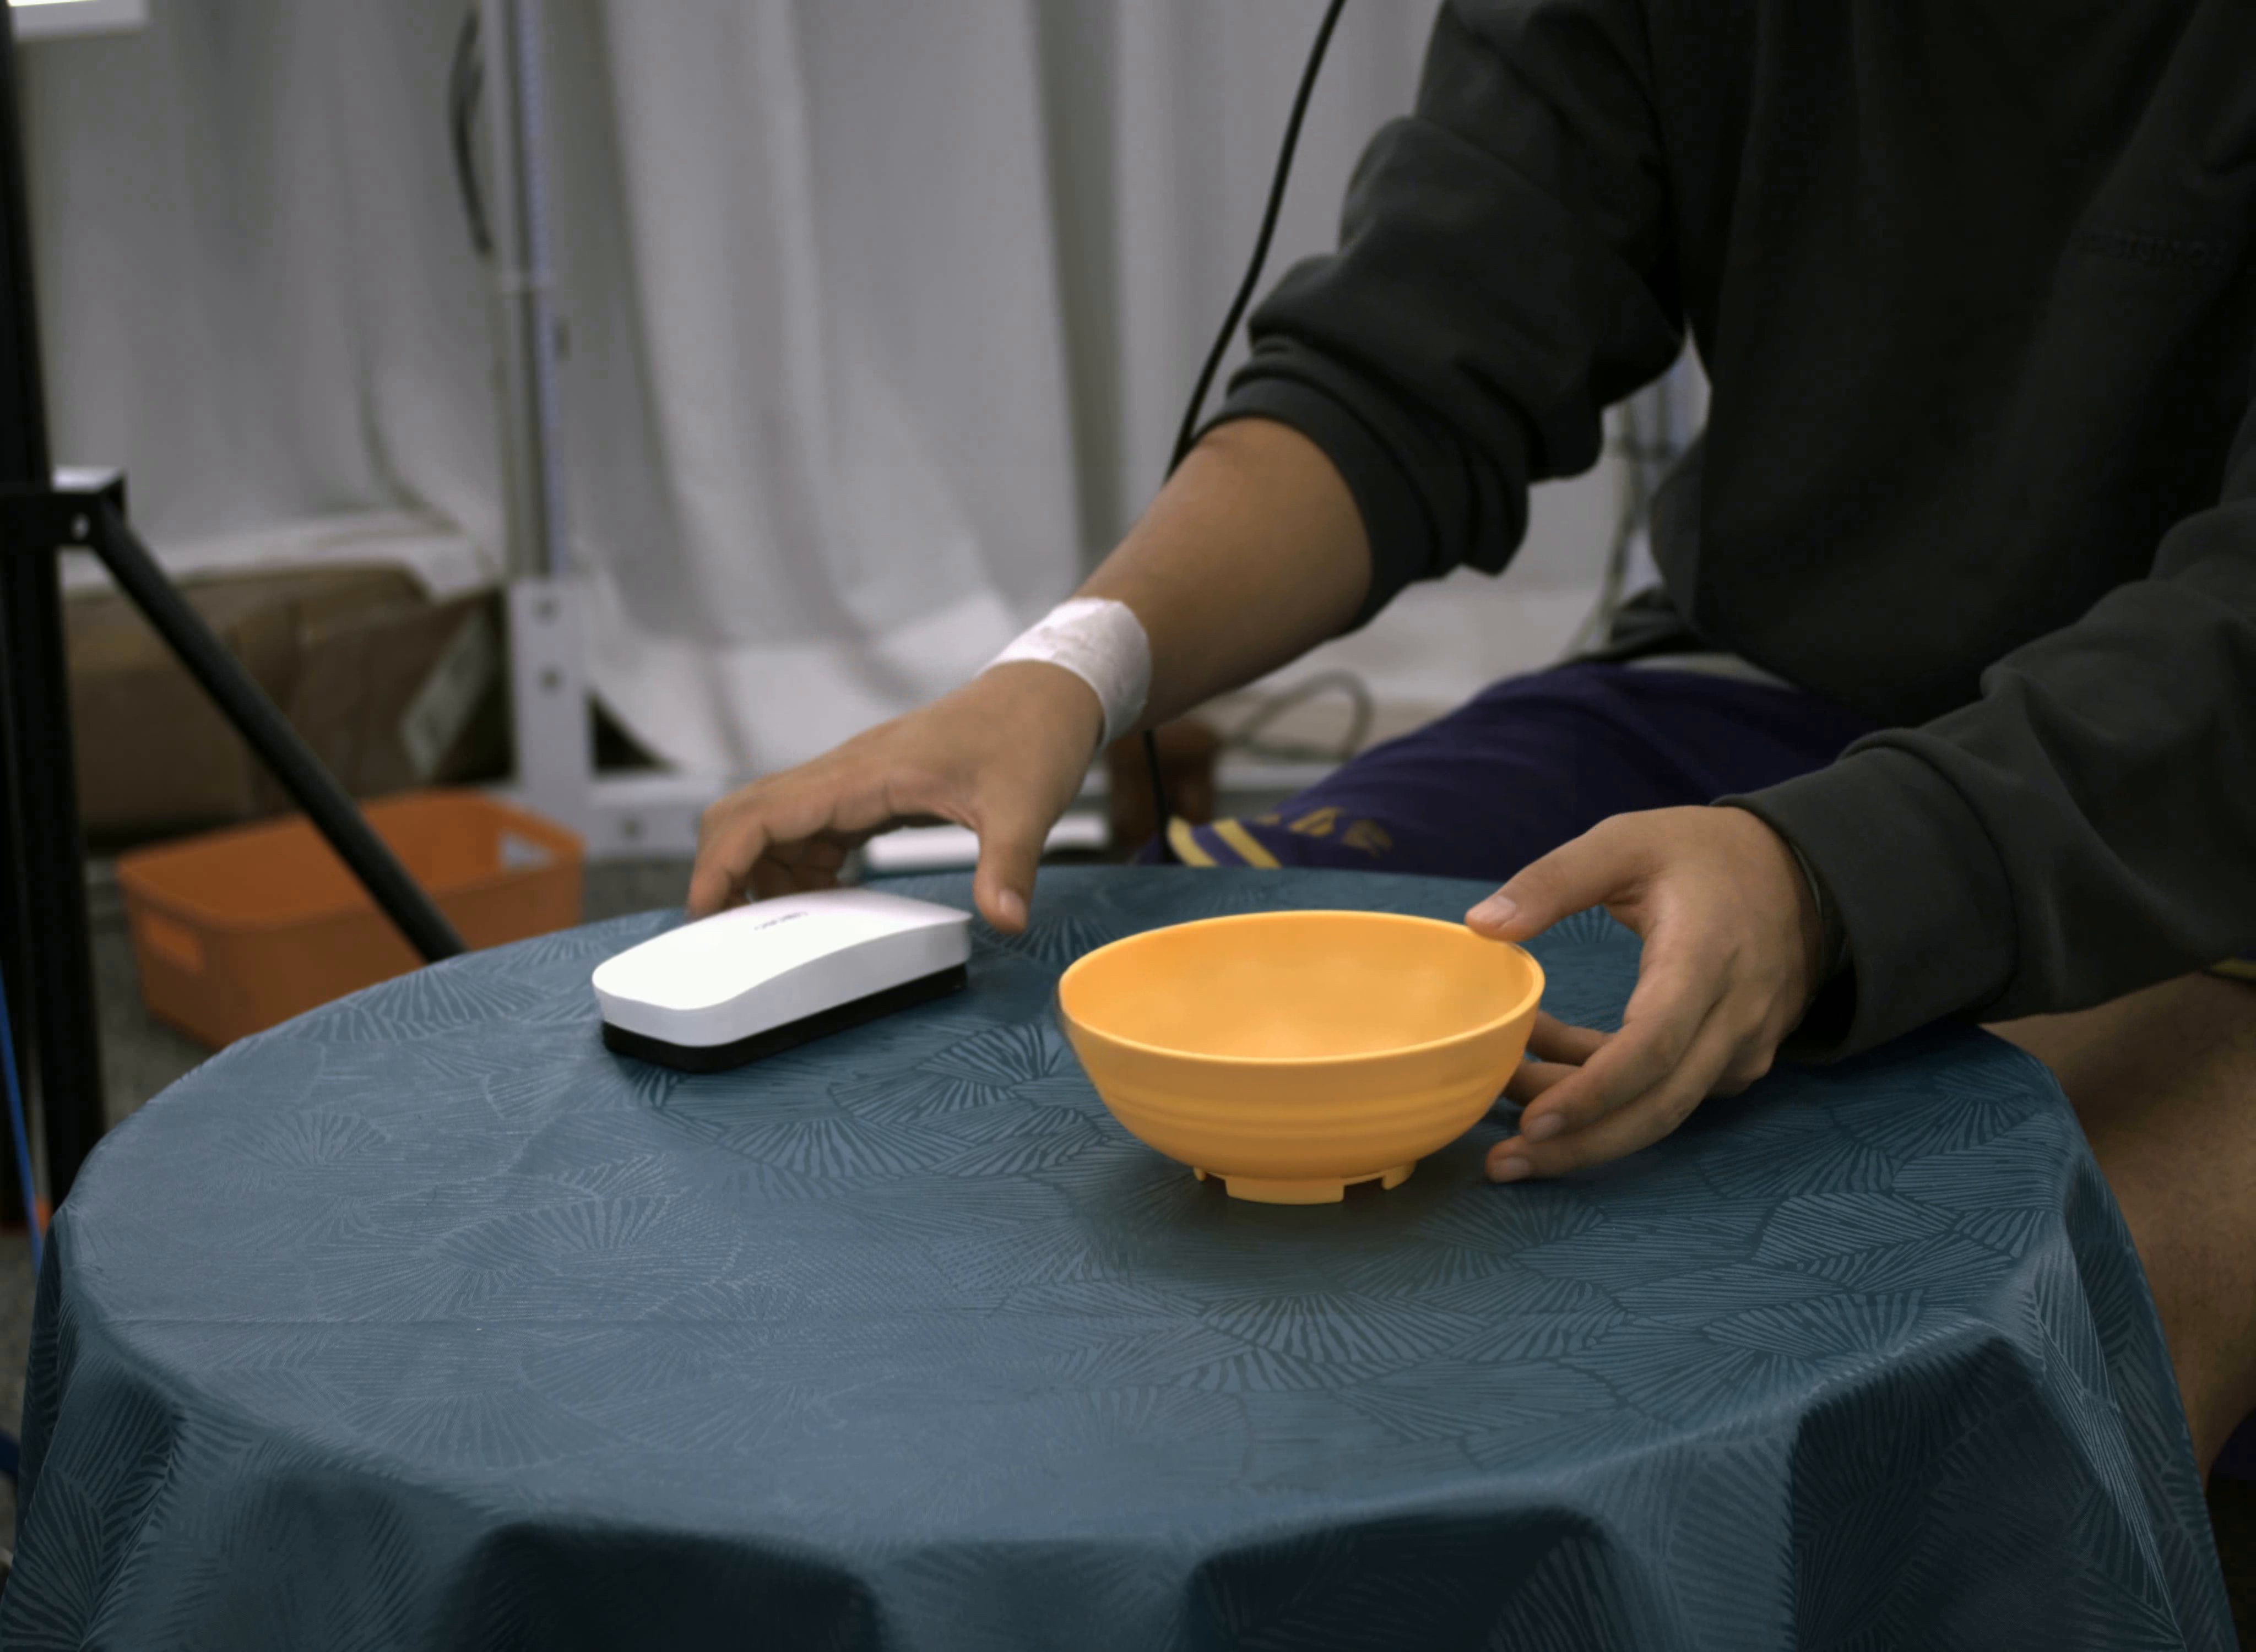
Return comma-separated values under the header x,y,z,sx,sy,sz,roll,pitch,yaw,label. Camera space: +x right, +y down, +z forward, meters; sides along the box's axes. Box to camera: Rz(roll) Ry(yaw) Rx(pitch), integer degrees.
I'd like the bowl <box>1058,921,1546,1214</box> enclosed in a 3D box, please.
x,y,z,sx,sy,sz,roll,pitch,yaw,label
0.051,0.076,1.567,0.144,0.060,0.146,-1,14,-1,bowl

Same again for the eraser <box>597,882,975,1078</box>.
x,y,z,sx,sy,sz,roll,pitch,yaw,label
-0.109,0.047,1.737,0.065,0.034,0.128,14,24,43,eraser
